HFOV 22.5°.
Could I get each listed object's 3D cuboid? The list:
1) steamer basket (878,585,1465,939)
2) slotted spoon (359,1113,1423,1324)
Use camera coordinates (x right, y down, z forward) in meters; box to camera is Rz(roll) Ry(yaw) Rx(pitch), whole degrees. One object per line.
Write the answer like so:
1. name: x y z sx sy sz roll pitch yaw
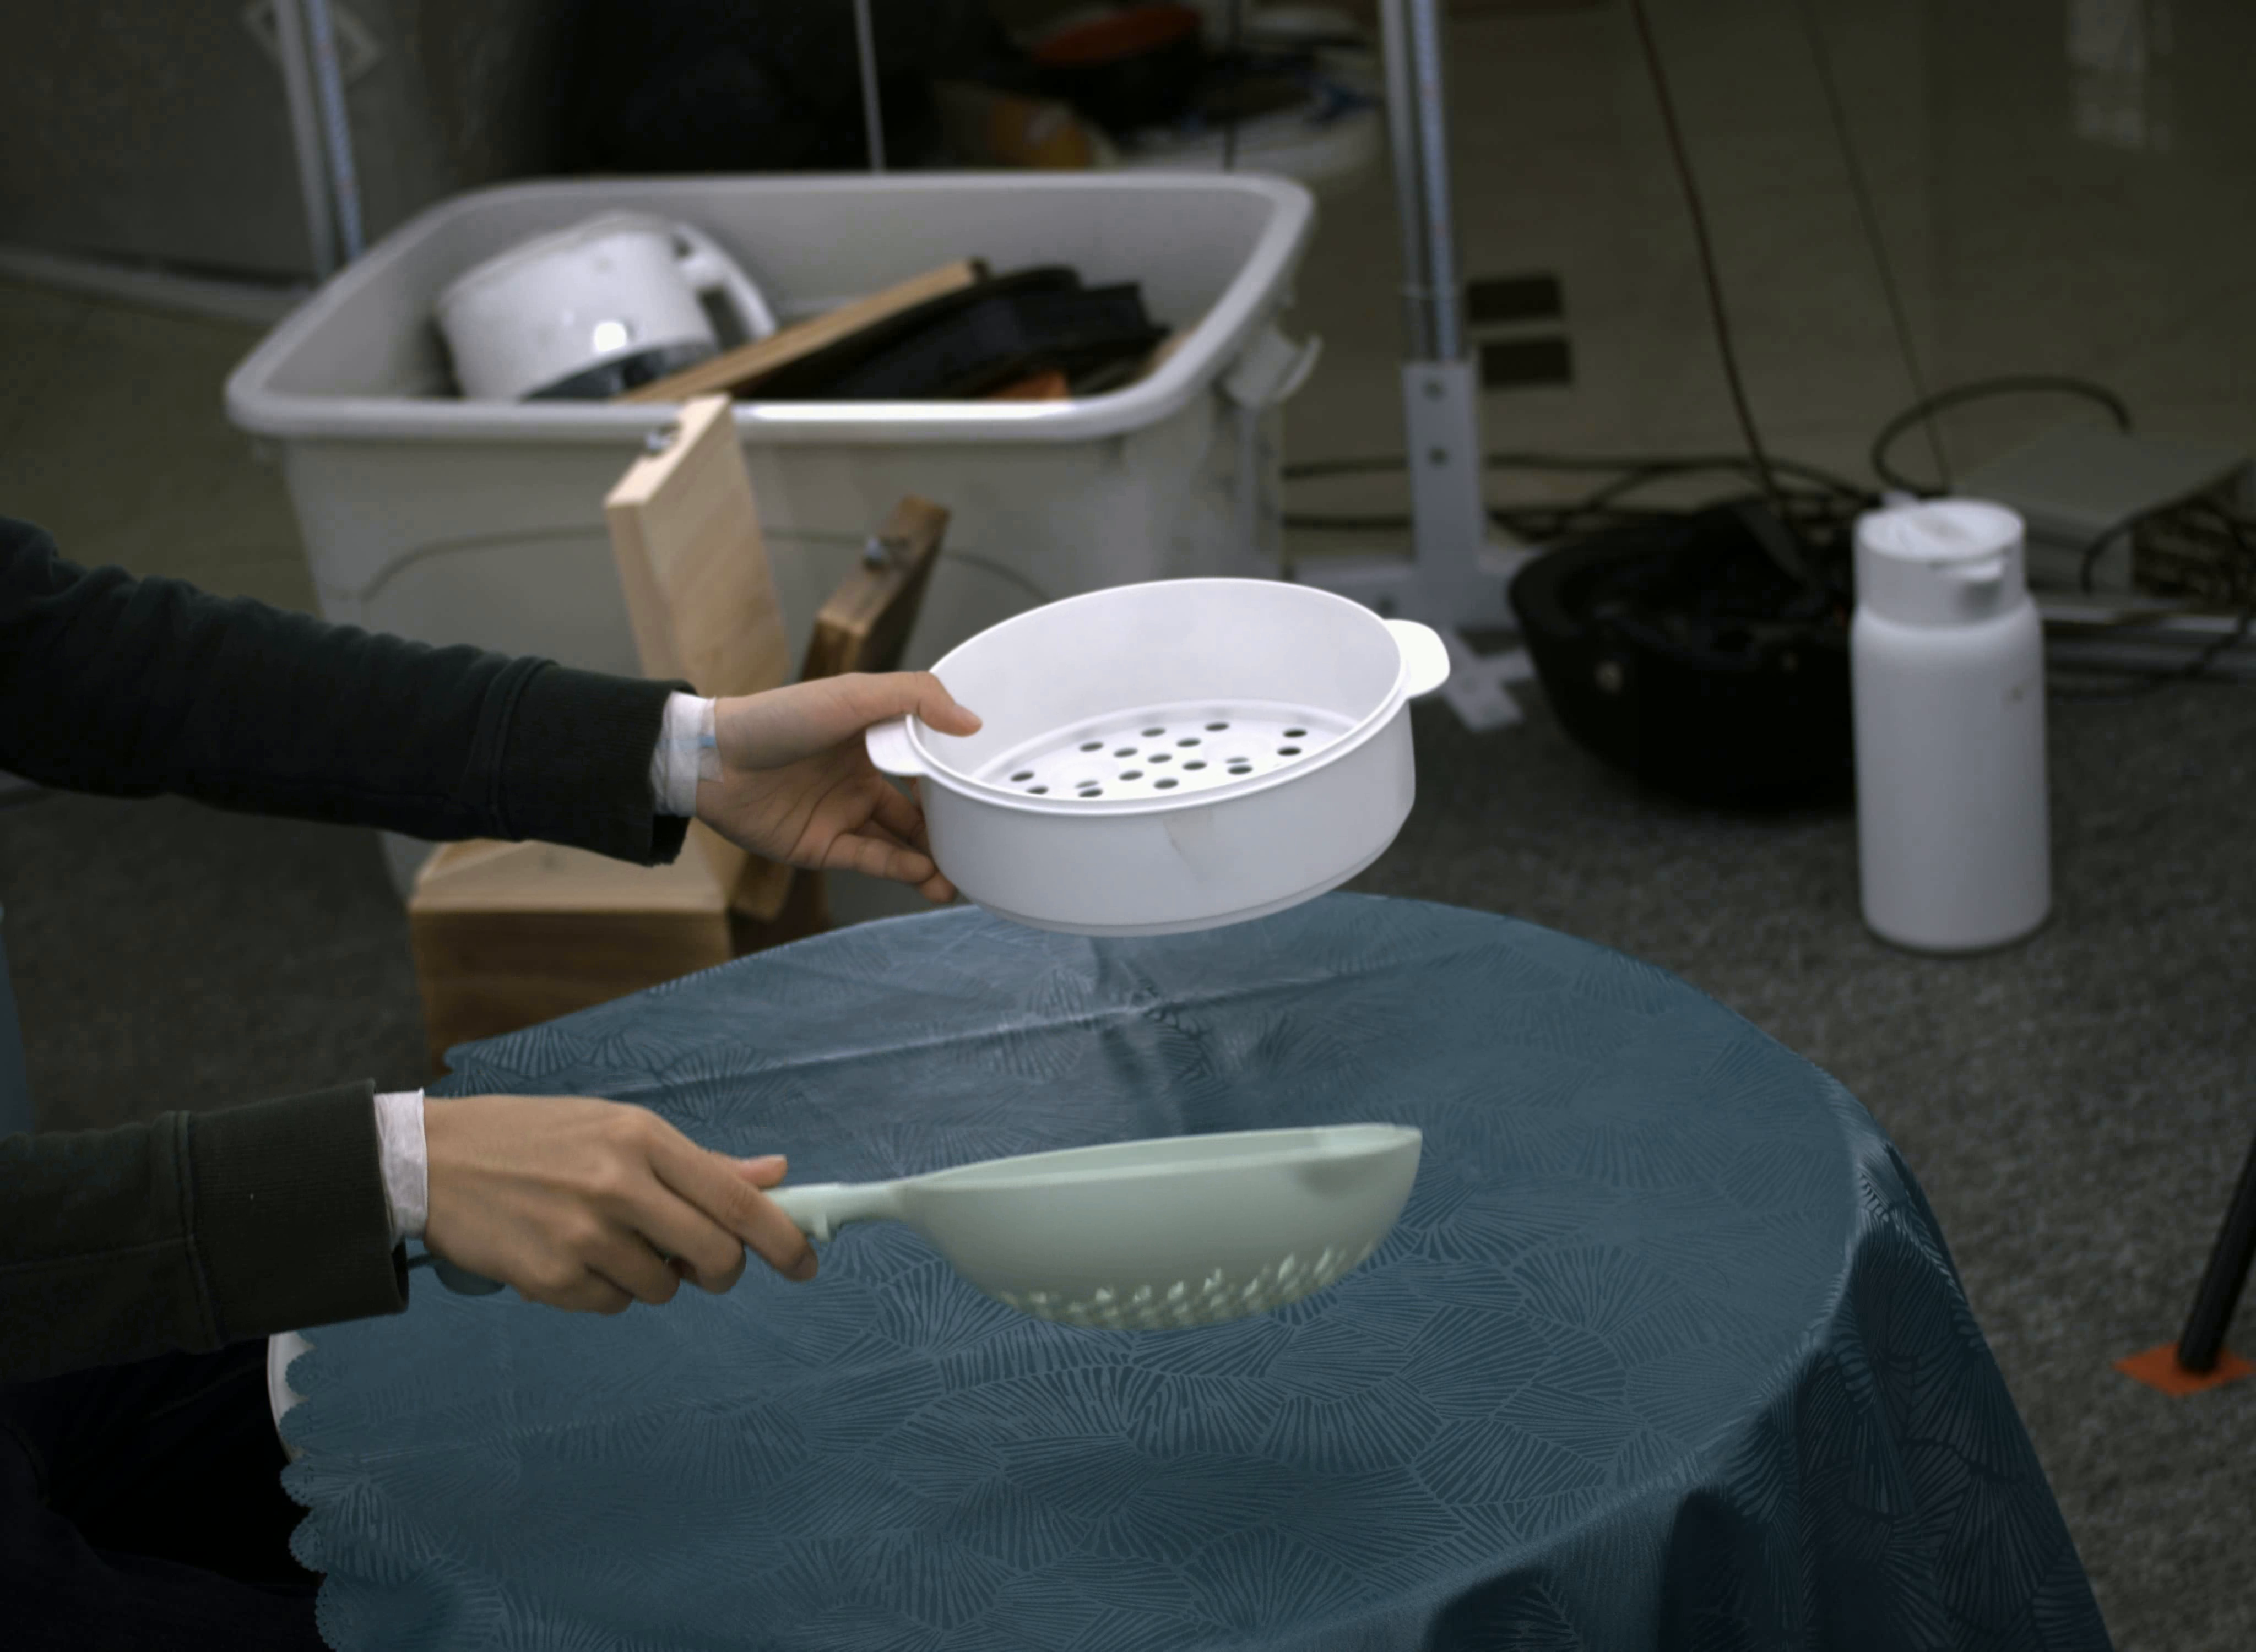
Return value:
1. steamer basket: 0.020 -0.025 2.219 0.230 0.070 0.199 -9 26 -3
2. slotted spoon: -0.081 0.130 1.897 0.358 0.075 0.169 1 -1 6
